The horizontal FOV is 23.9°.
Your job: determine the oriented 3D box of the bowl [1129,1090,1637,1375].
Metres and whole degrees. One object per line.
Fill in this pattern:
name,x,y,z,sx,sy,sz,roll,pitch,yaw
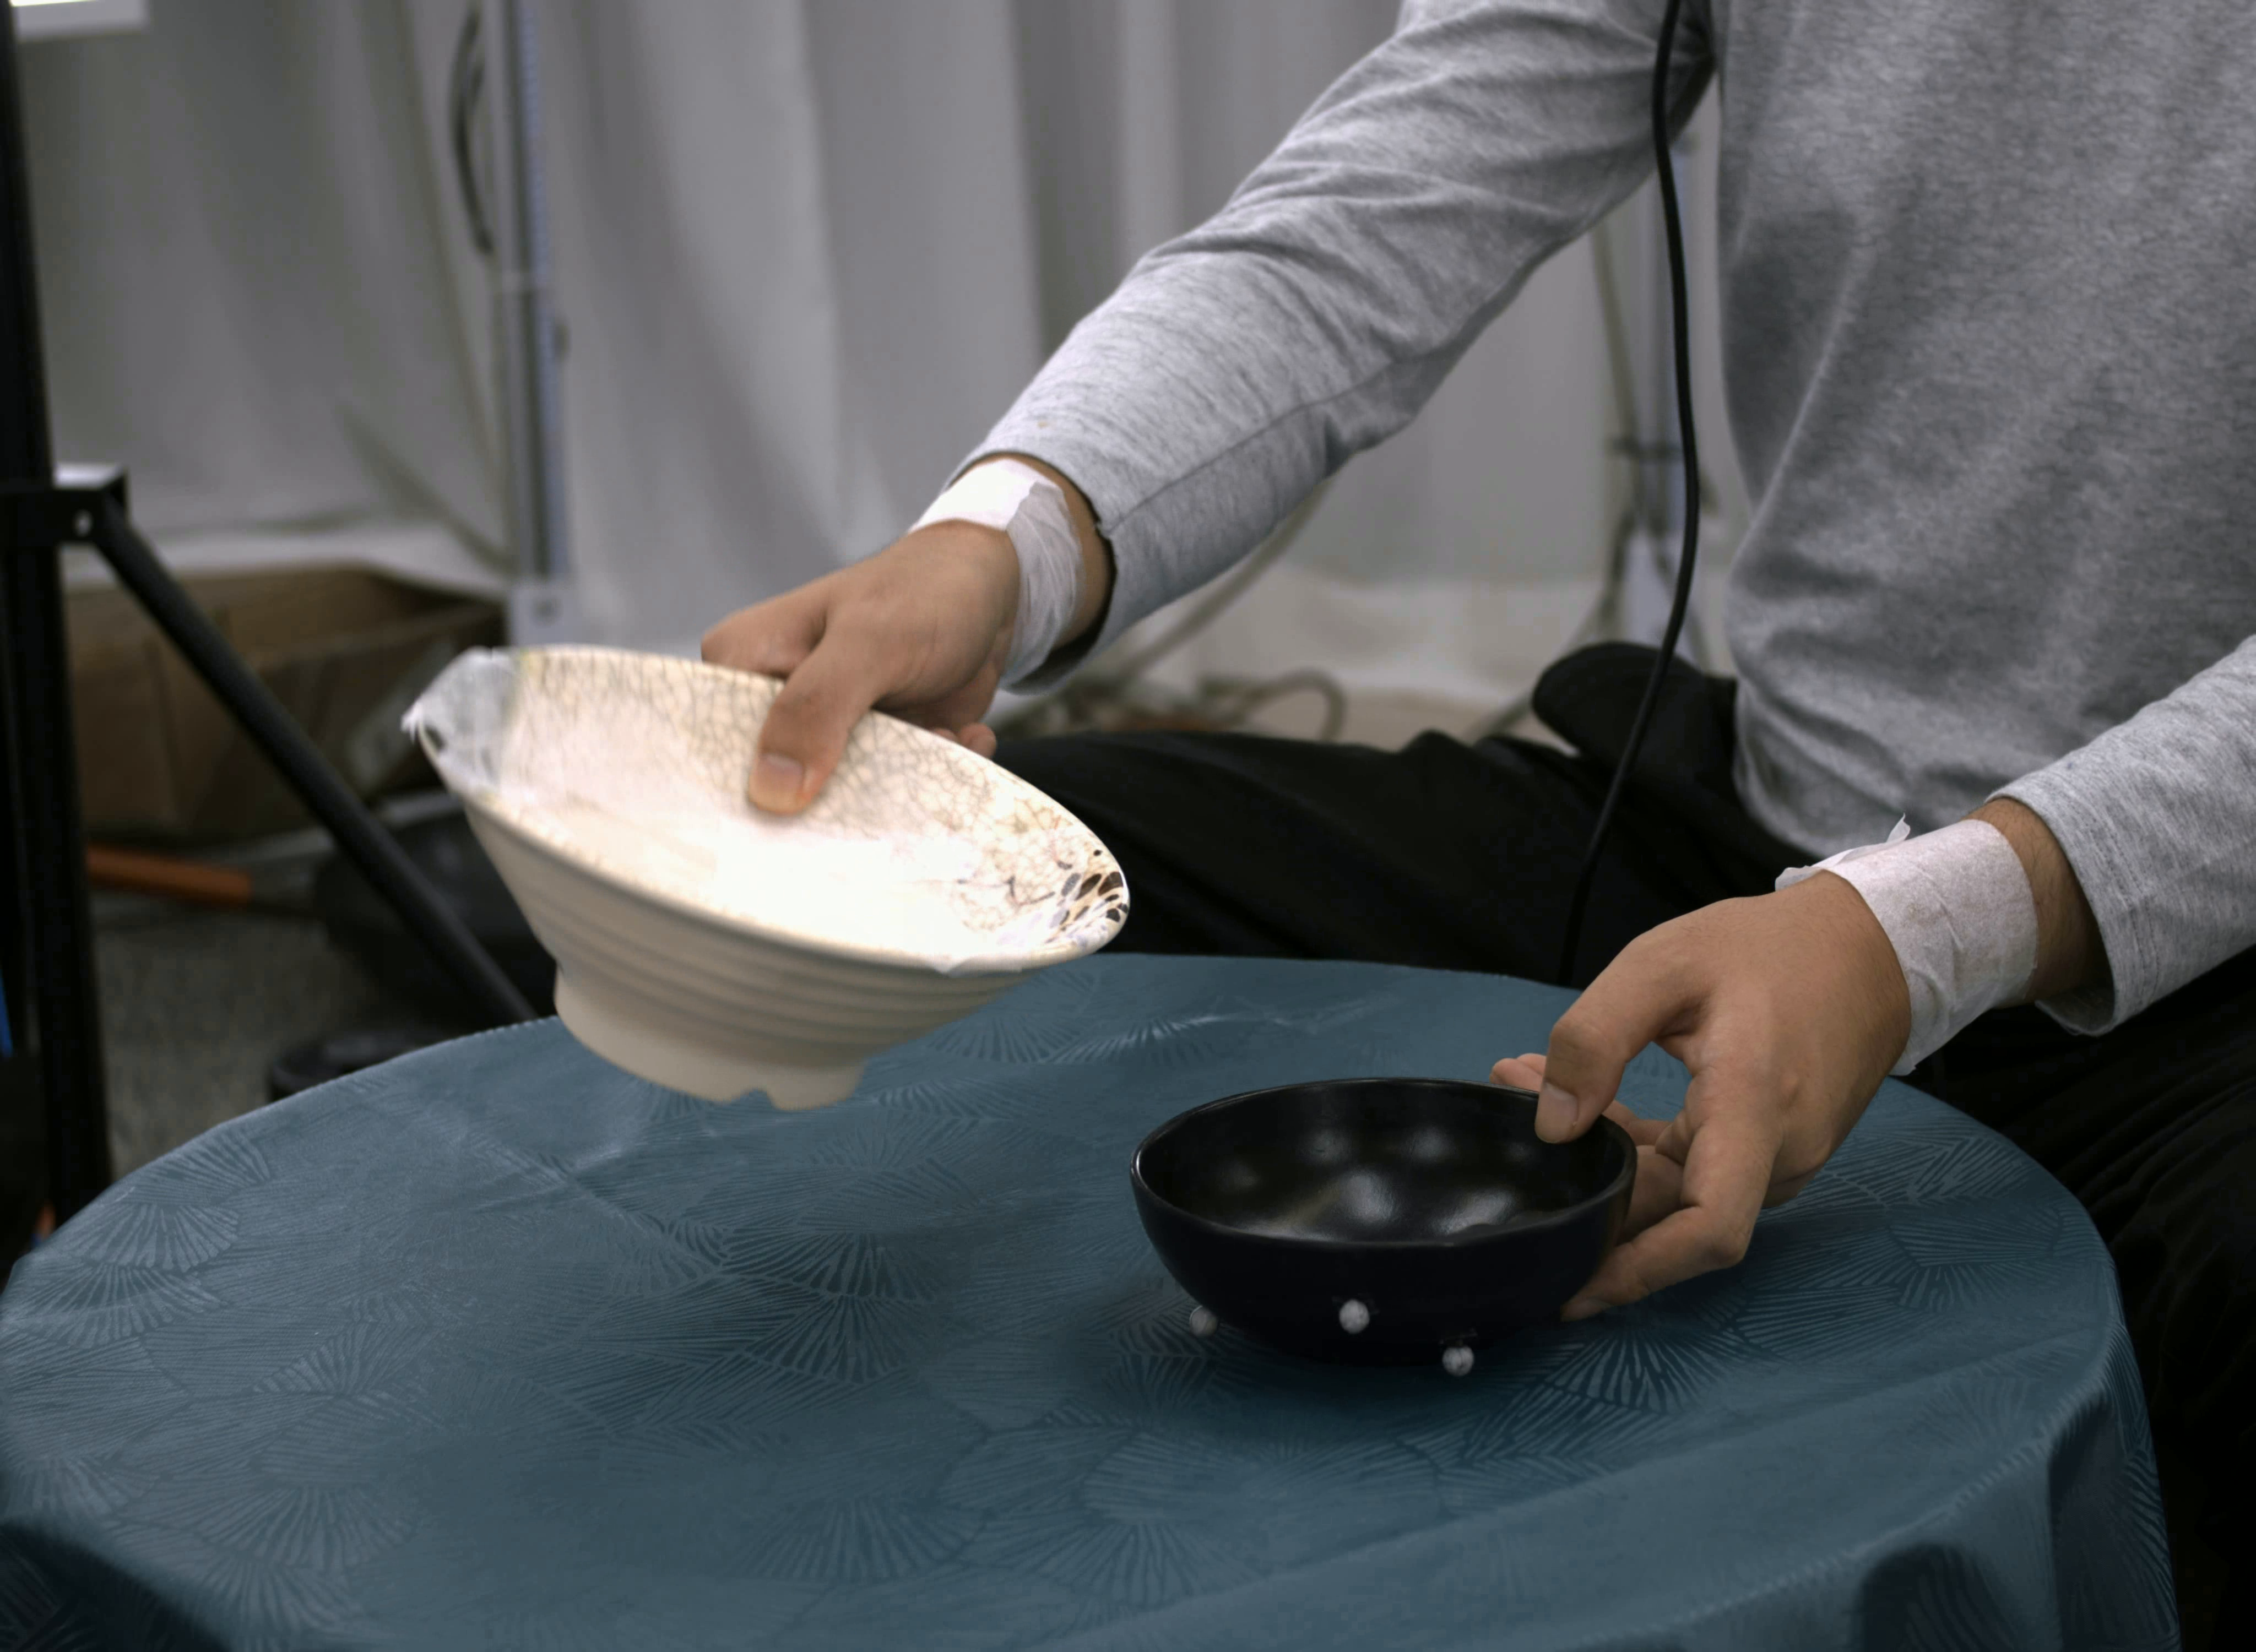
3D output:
bowl,0.069,0.115,1.444,0.139,0.050,0.140,2,14,-2

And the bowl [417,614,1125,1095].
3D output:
bowl,-0.108,0.019,1.468,0.202,0.078,0.205,17,18,-7
